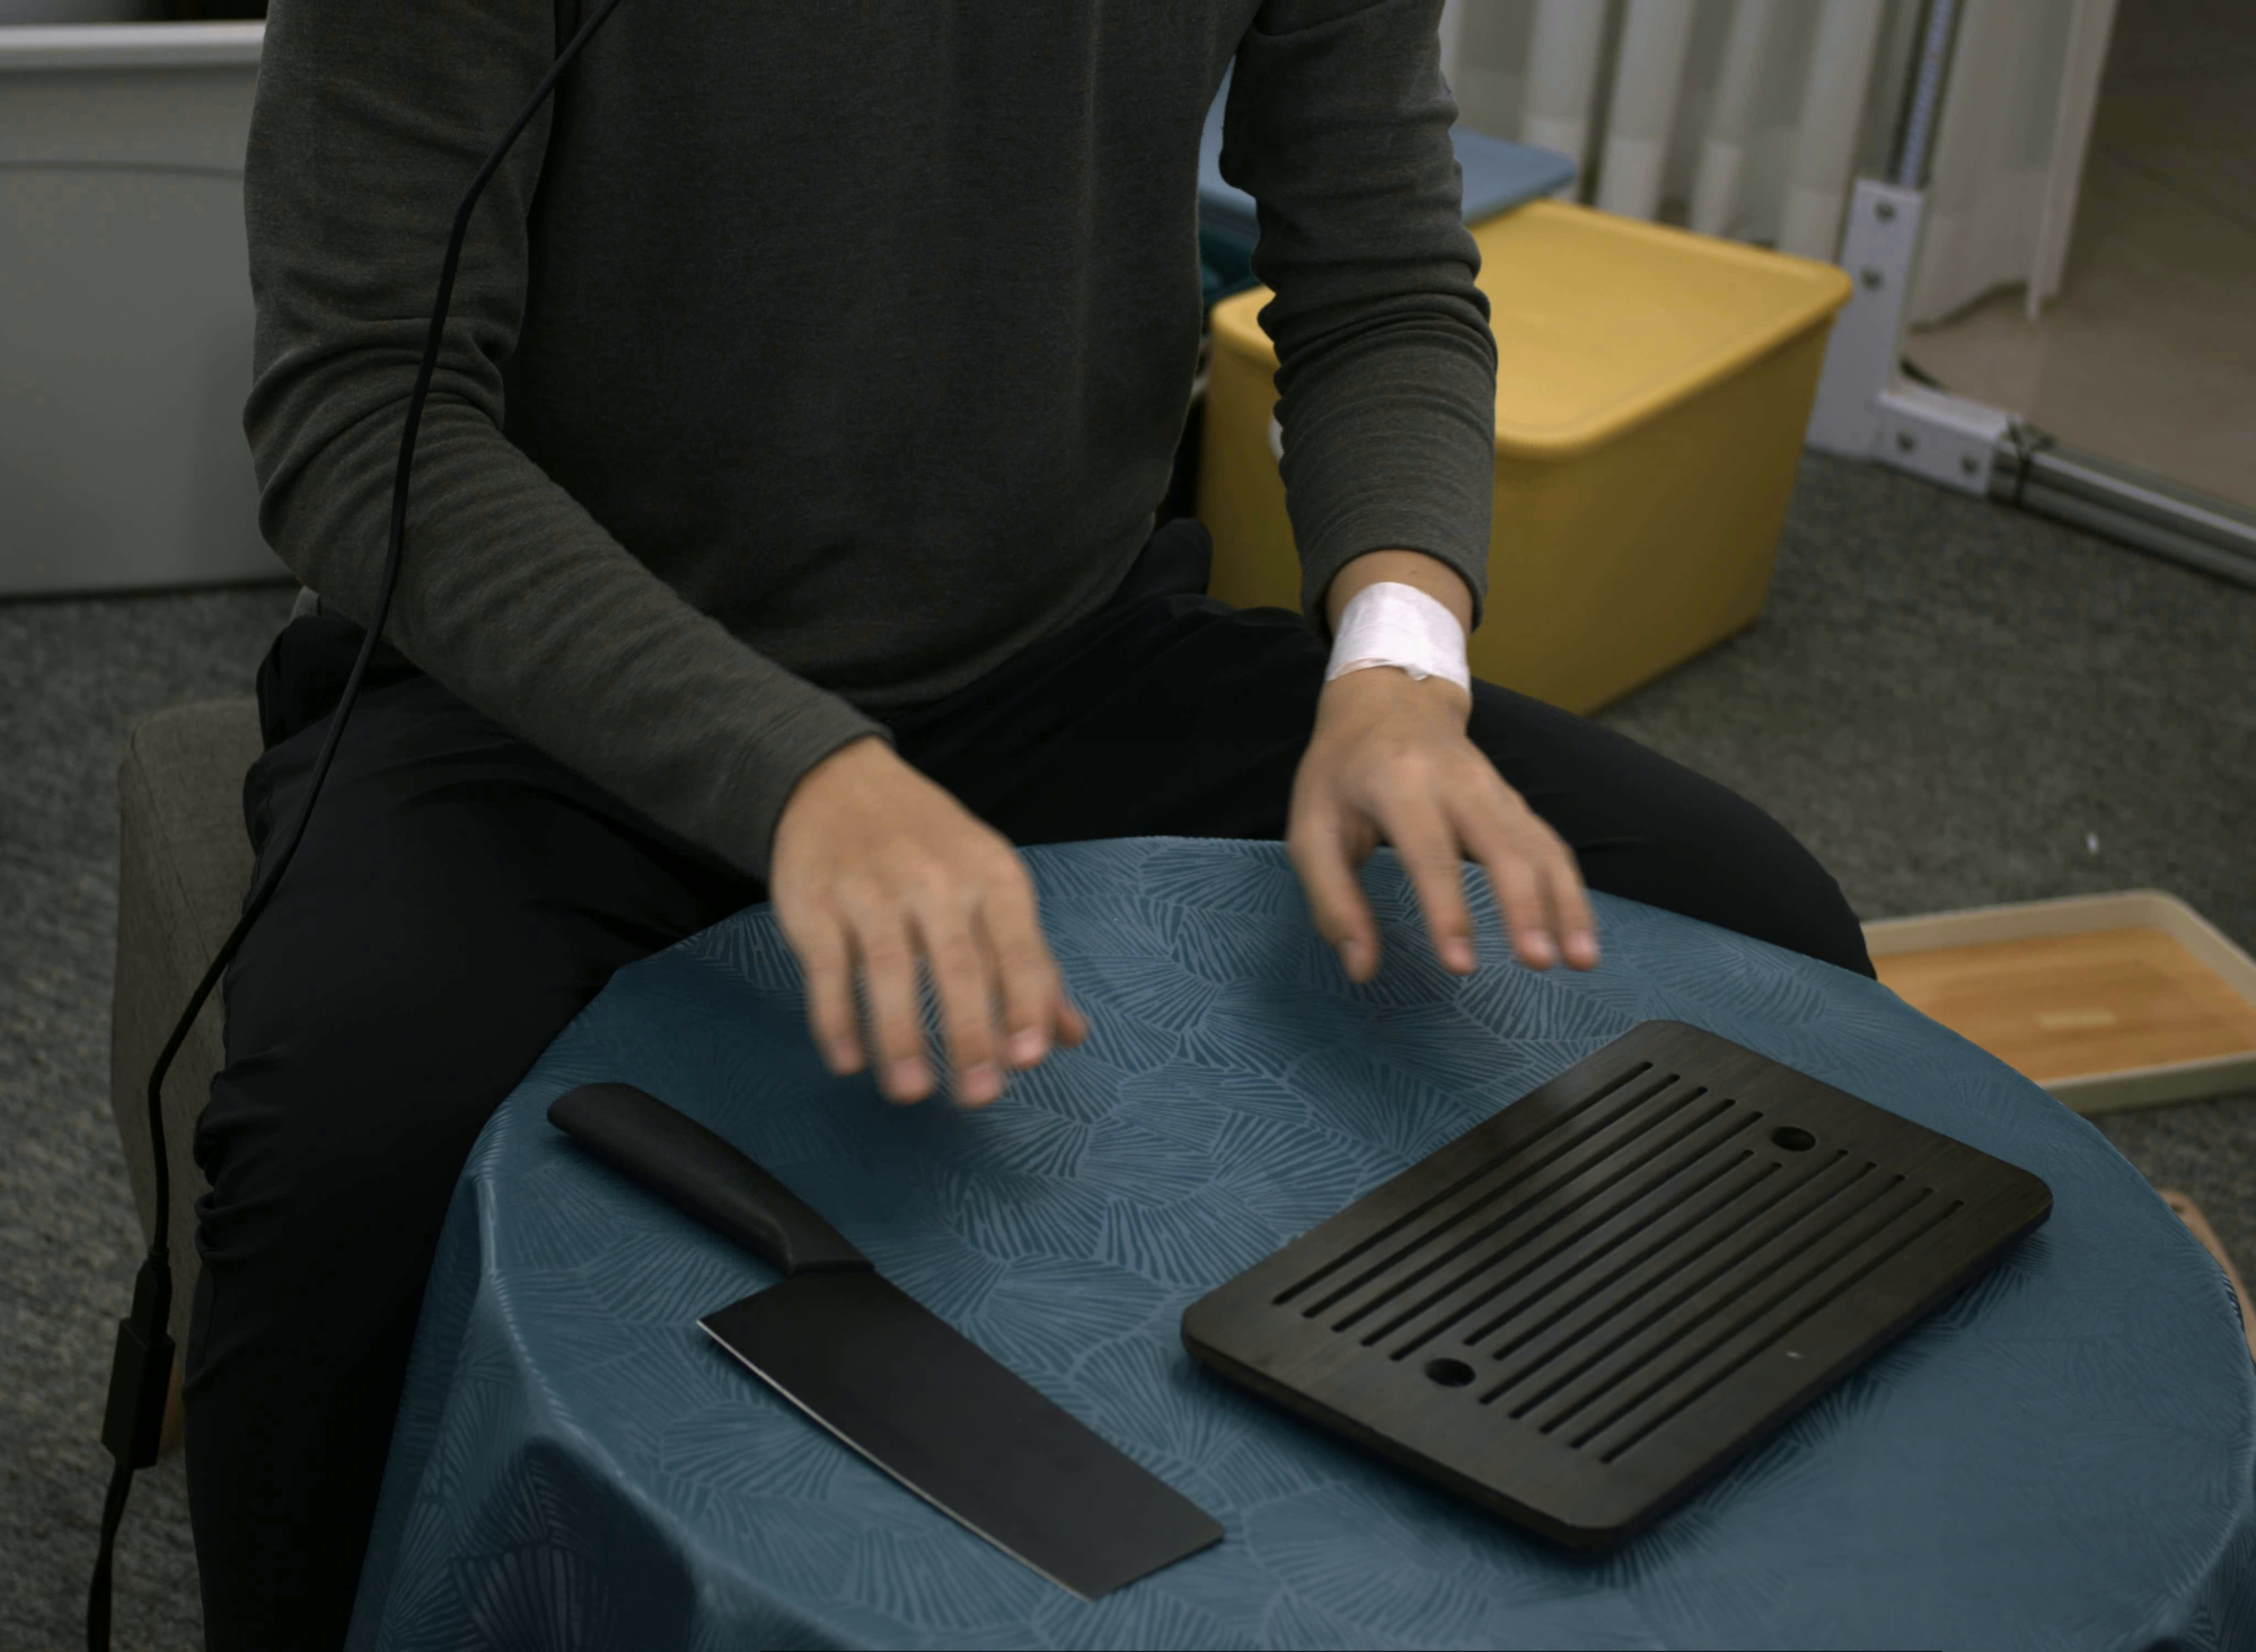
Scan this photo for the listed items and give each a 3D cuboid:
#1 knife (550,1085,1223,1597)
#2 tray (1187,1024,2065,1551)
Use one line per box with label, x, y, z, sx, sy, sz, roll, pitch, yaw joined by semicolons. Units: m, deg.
knife;-0.091;0.160;1.698;0.080;0.021;0.305;-17;36;-36
tray;0.170;0.150;1.772;0.171;0.018;0.305;23;31;31
